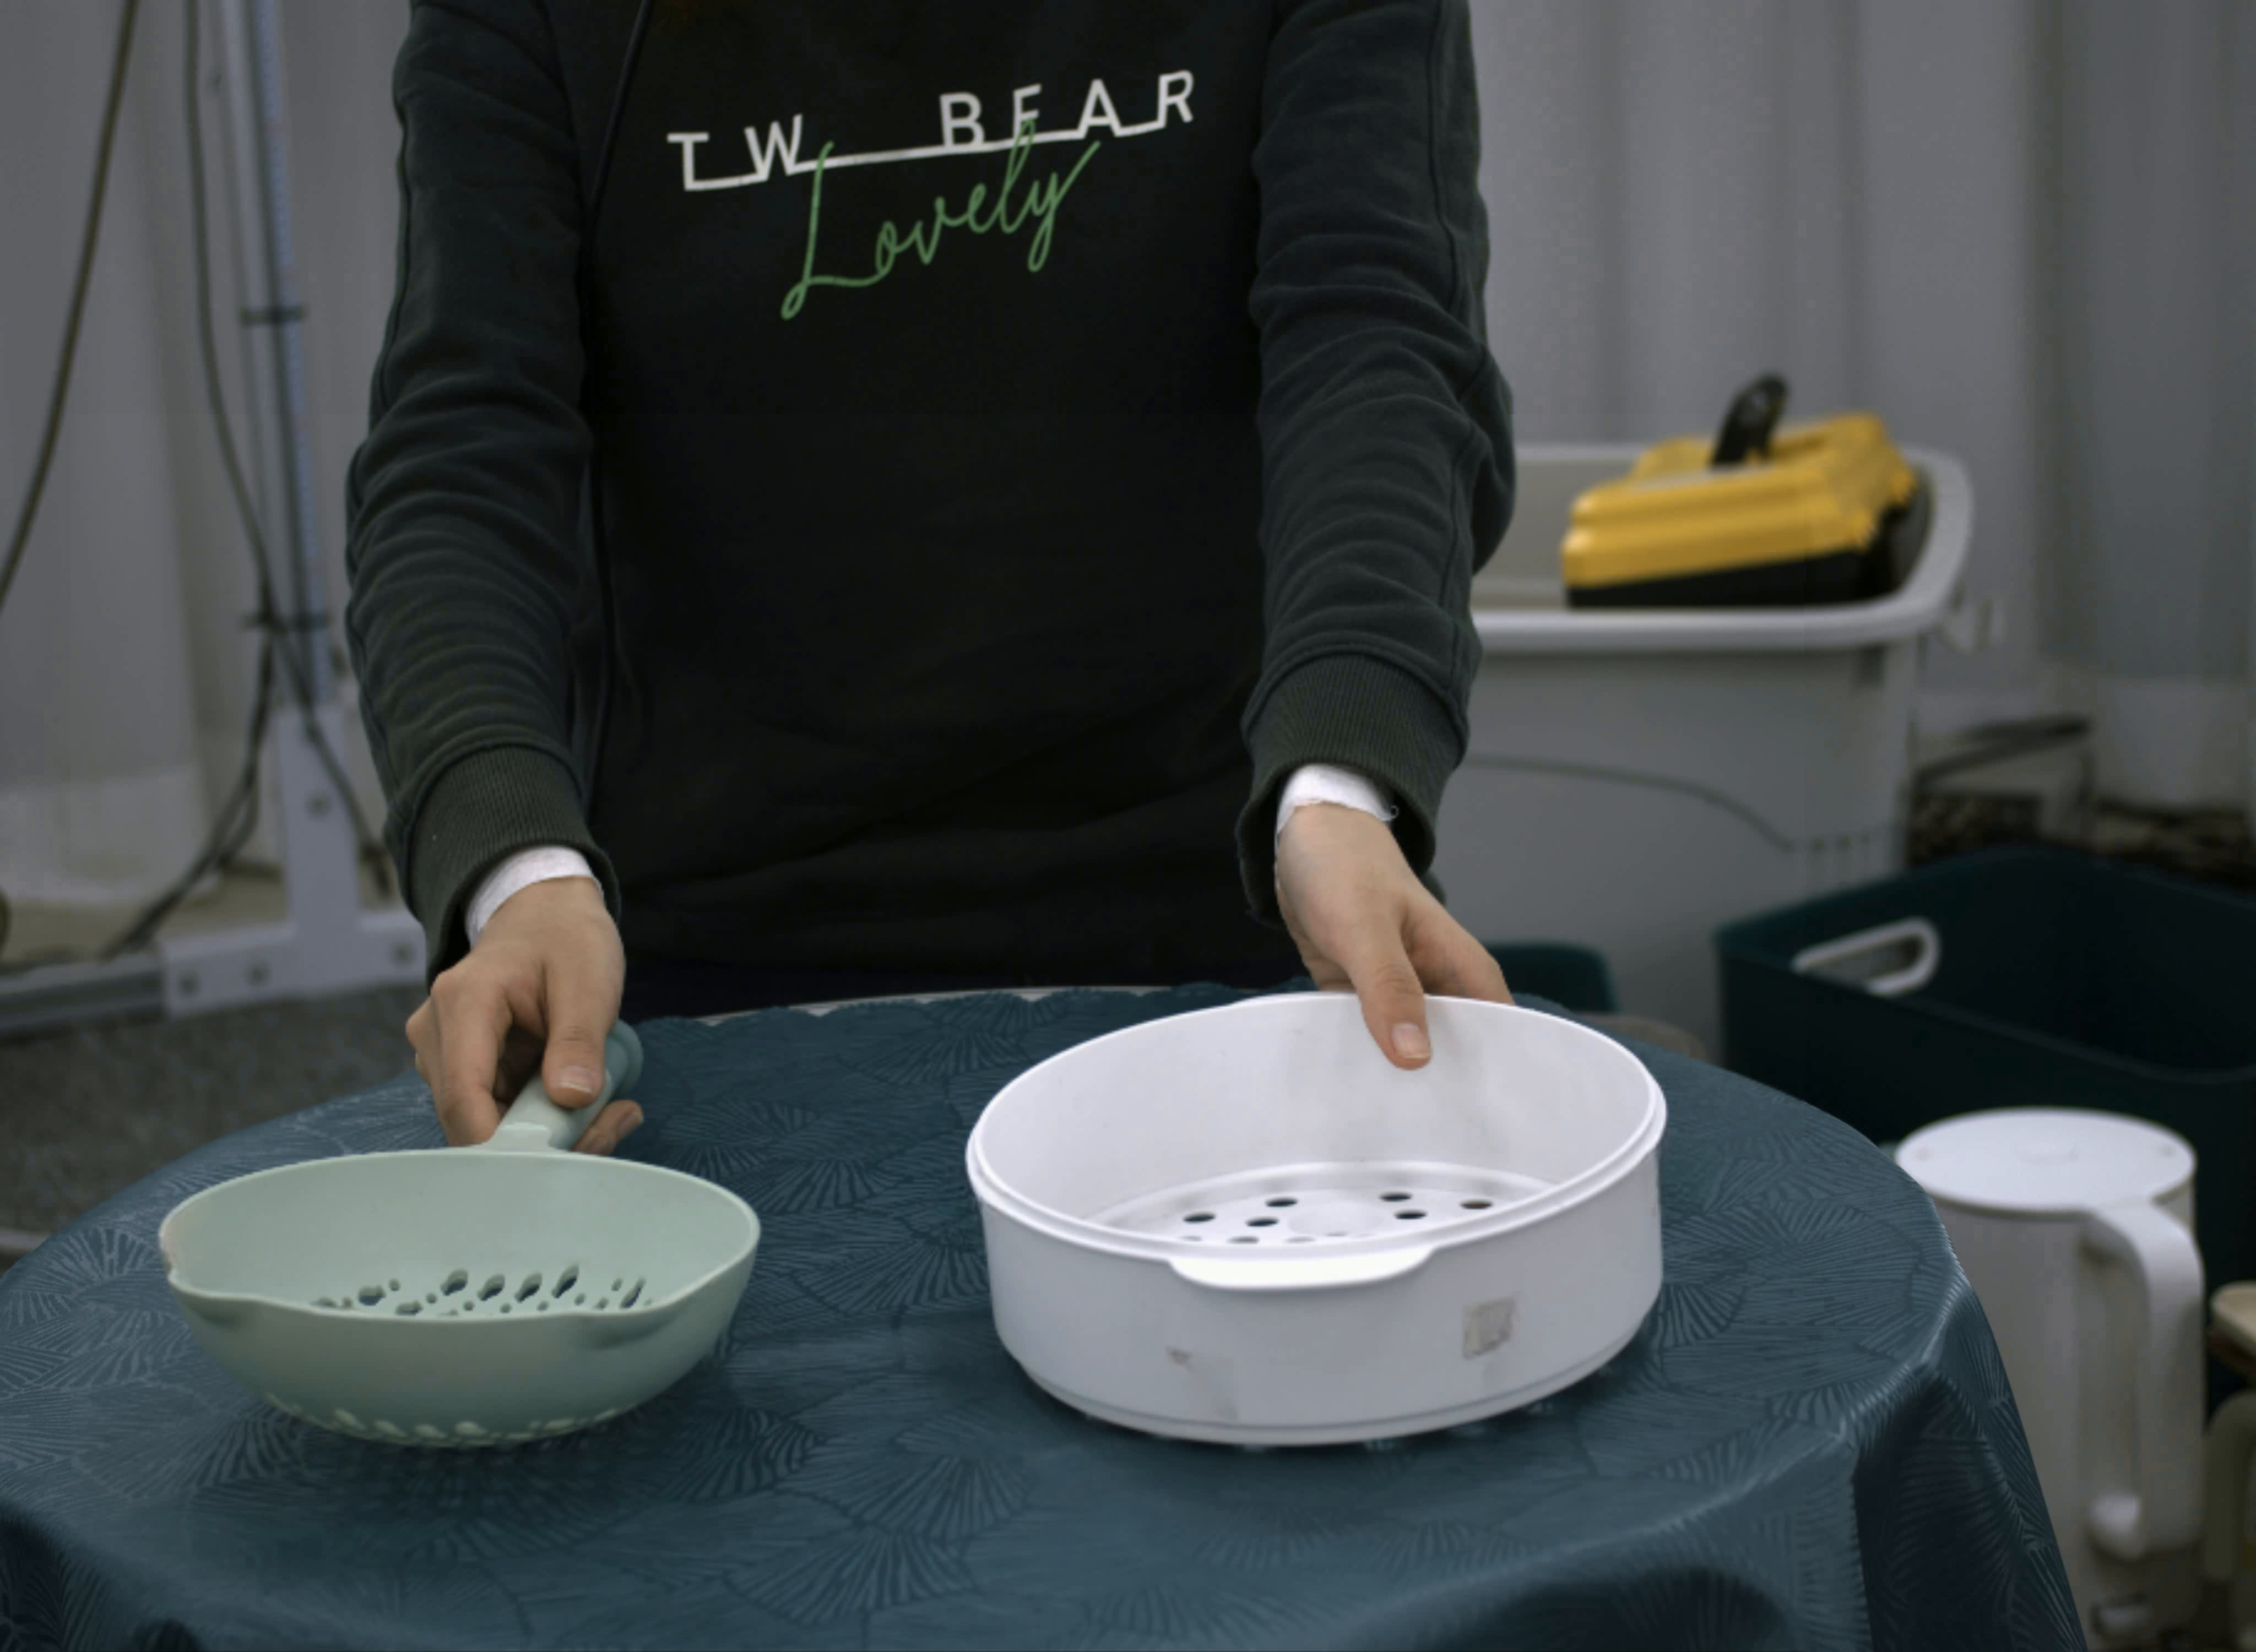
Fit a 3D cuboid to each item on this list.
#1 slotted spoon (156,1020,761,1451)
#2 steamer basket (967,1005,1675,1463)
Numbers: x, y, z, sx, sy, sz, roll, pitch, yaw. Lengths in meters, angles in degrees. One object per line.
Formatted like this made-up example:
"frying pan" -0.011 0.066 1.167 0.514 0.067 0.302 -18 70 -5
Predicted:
"slotted spoon" -0.181 0.106 1.633 0.169 0.075 0.362 2 19 3
"steamer basket" 0.056 0.116 1.562 0.201 0.069 0.232 -2 18 4
